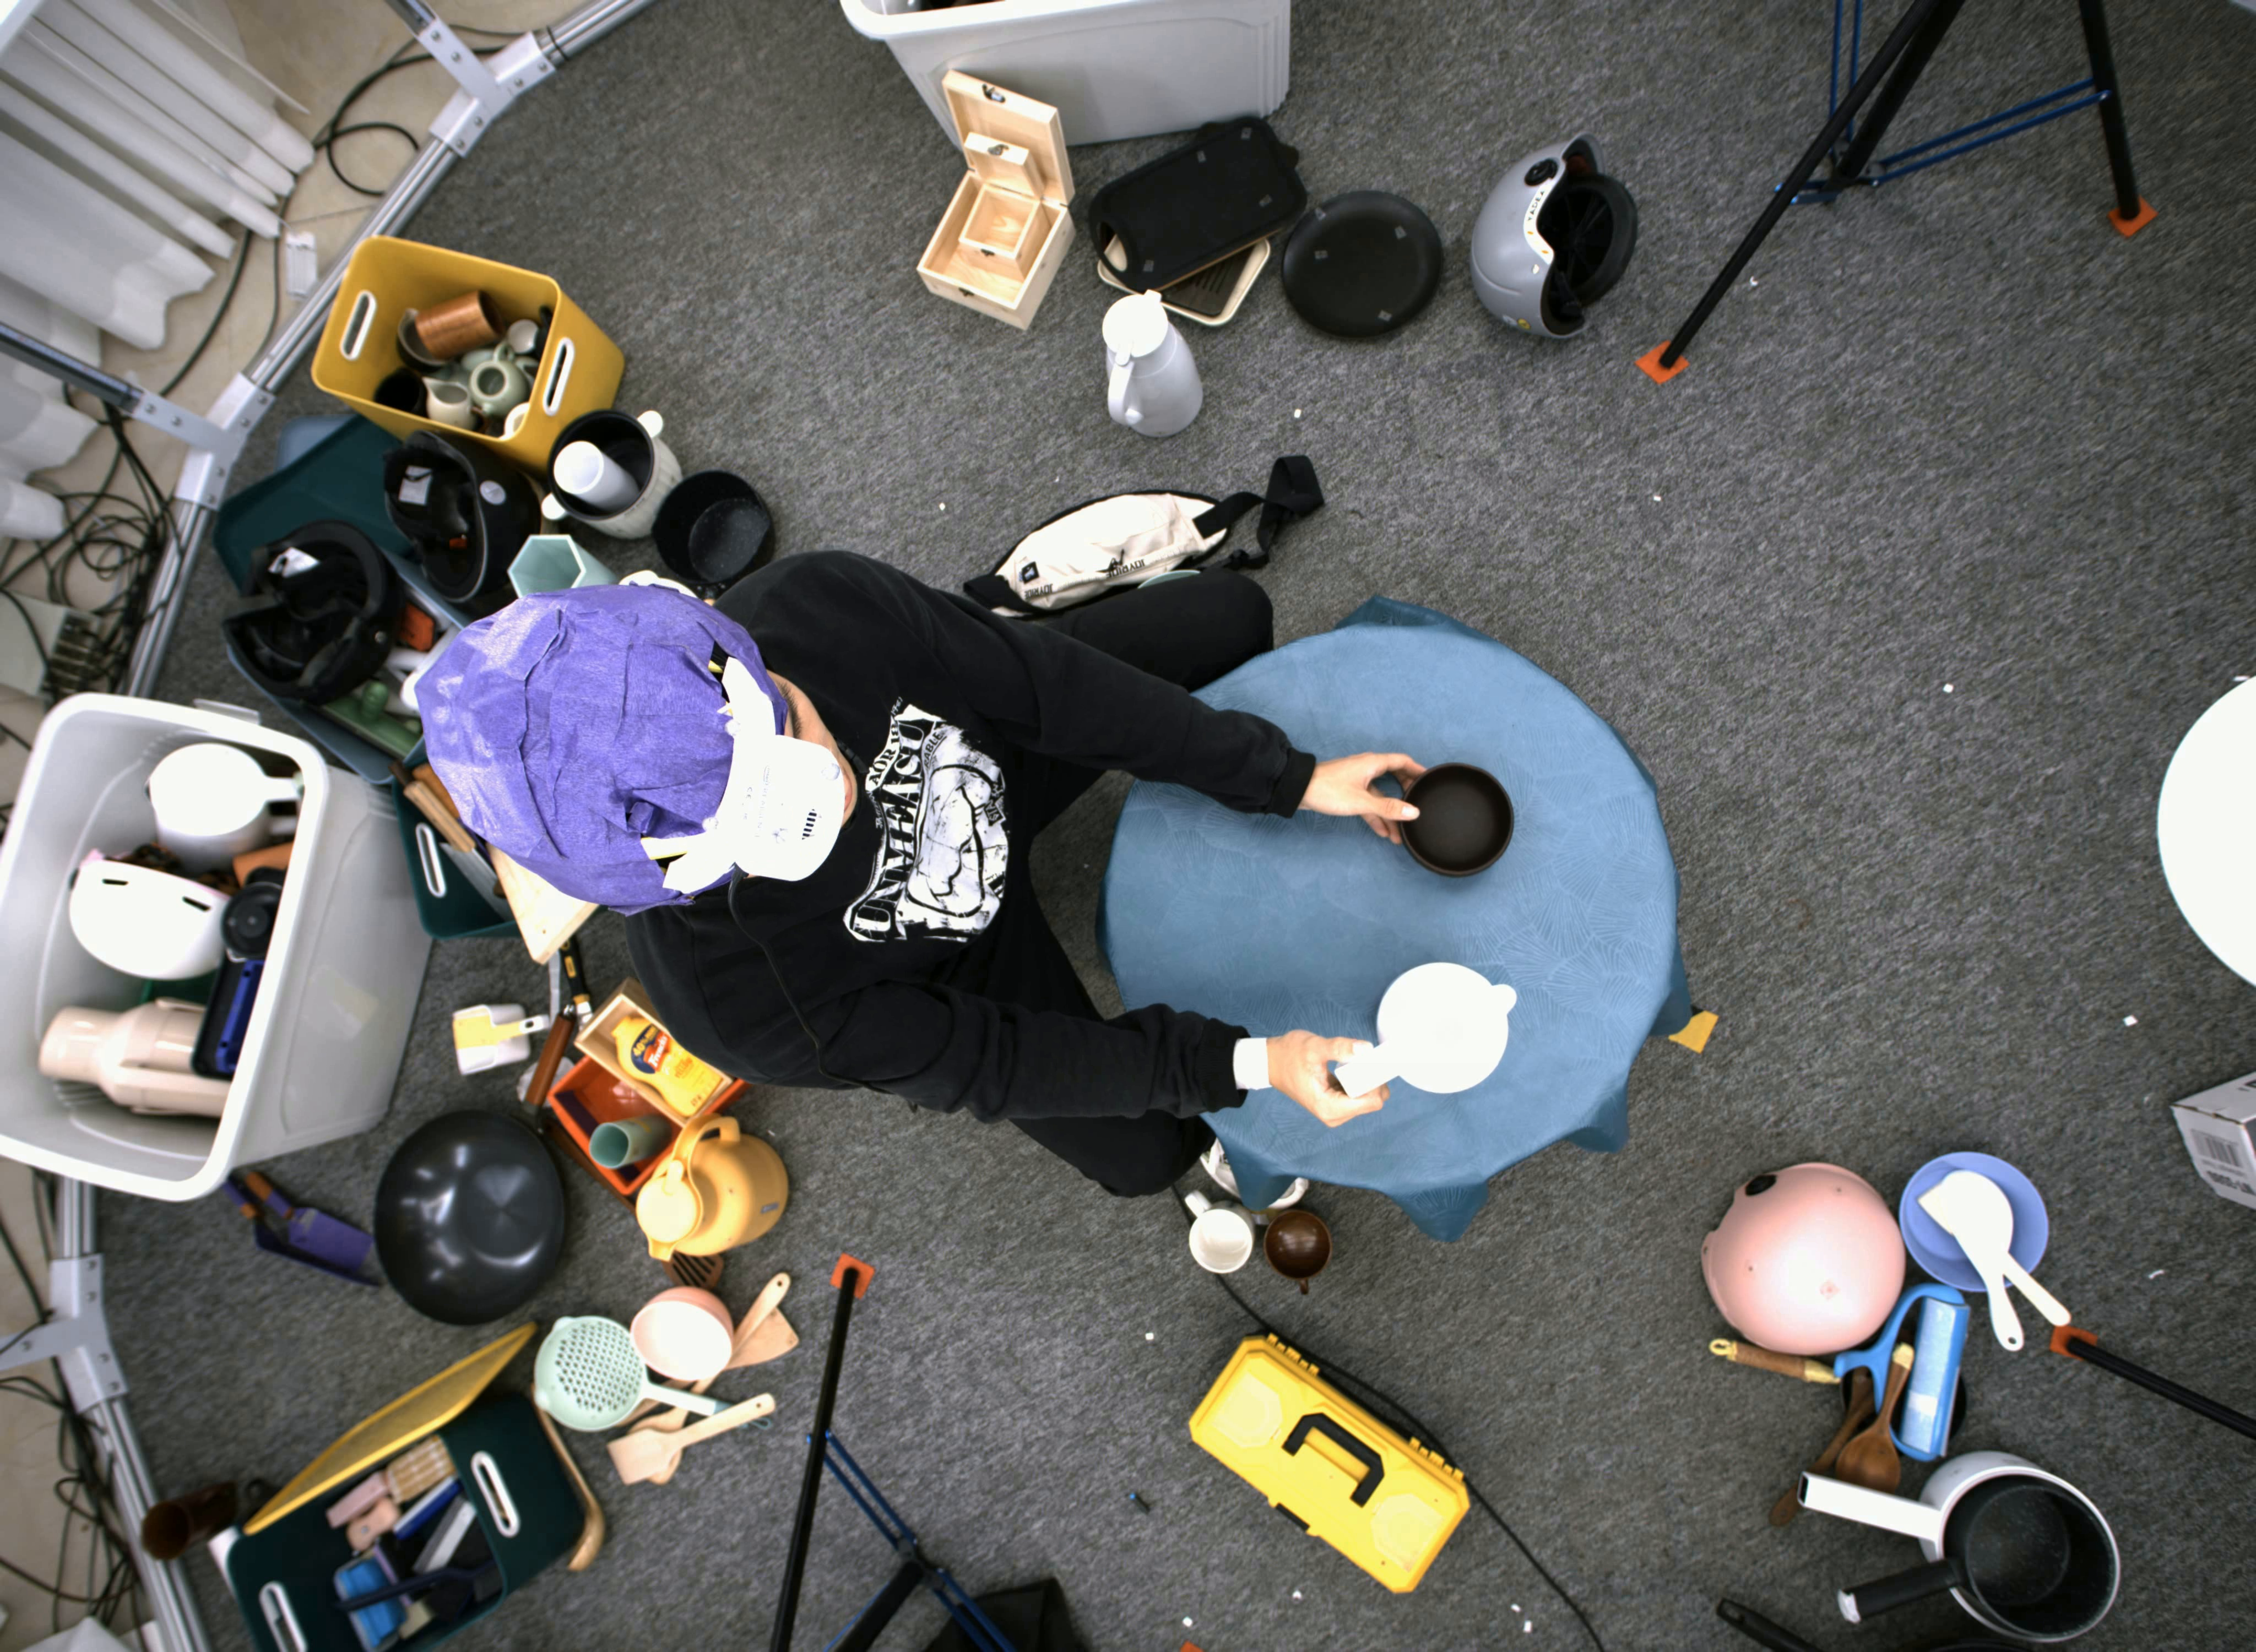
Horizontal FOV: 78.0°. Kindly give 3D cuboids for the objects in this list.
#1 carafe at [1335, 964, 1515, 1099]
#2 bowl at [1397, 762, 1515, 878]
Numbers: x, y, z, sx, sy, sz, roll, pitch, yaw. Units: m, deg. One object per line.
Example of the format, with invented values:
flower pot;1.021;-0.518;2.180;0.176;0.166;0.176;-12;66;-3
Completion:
carafe;0.281;0.199;1.318;0.174;0.269;0.123;-31;82;6
bowl;0.336;-0.006;1.415;0.118;0.070;0.117;-1;87;11
